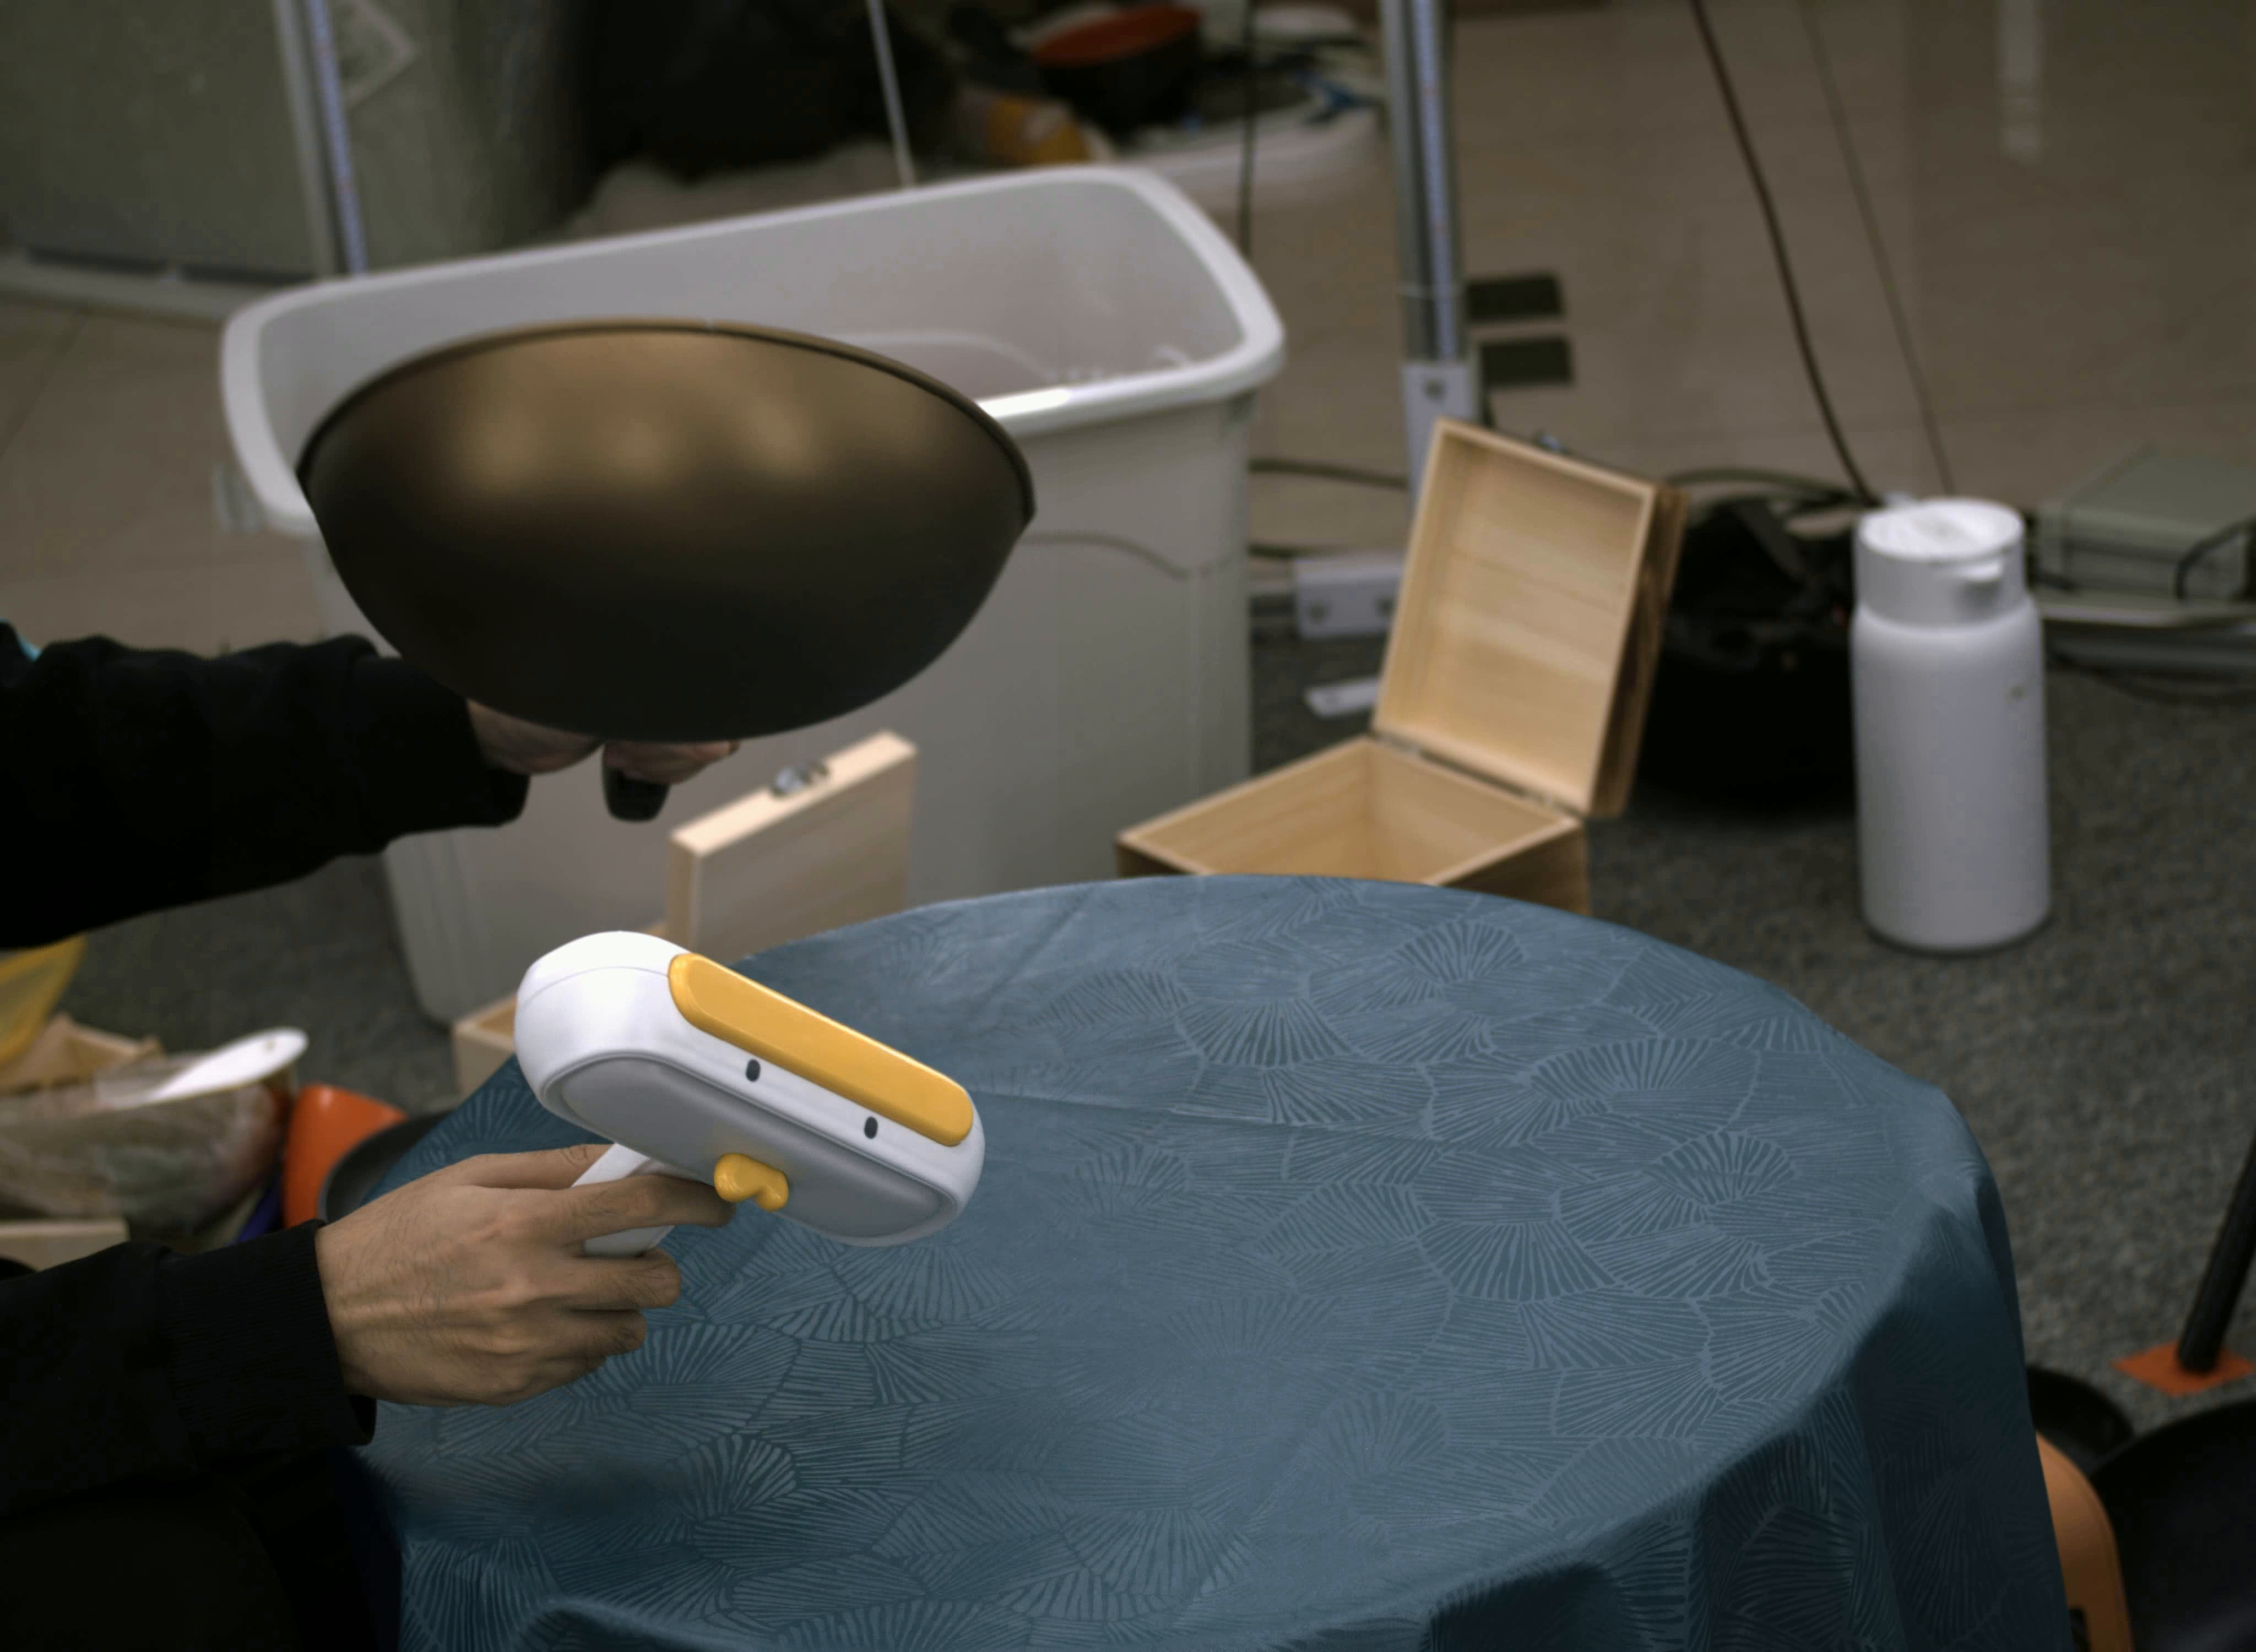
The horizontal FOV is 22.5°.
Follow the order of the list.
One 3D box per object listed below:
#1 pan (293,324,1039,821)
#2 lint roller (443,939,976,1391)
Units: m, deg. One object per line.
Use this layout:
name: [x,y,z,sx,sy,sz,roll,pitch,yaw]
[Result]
pan: [-0.188,-0.062,2.259,0.288,0.469,0.086,1,69,-7]
lint roller: [-0.171,0.126,1.957,0.194,0.194,0.073,20,44,-43]
